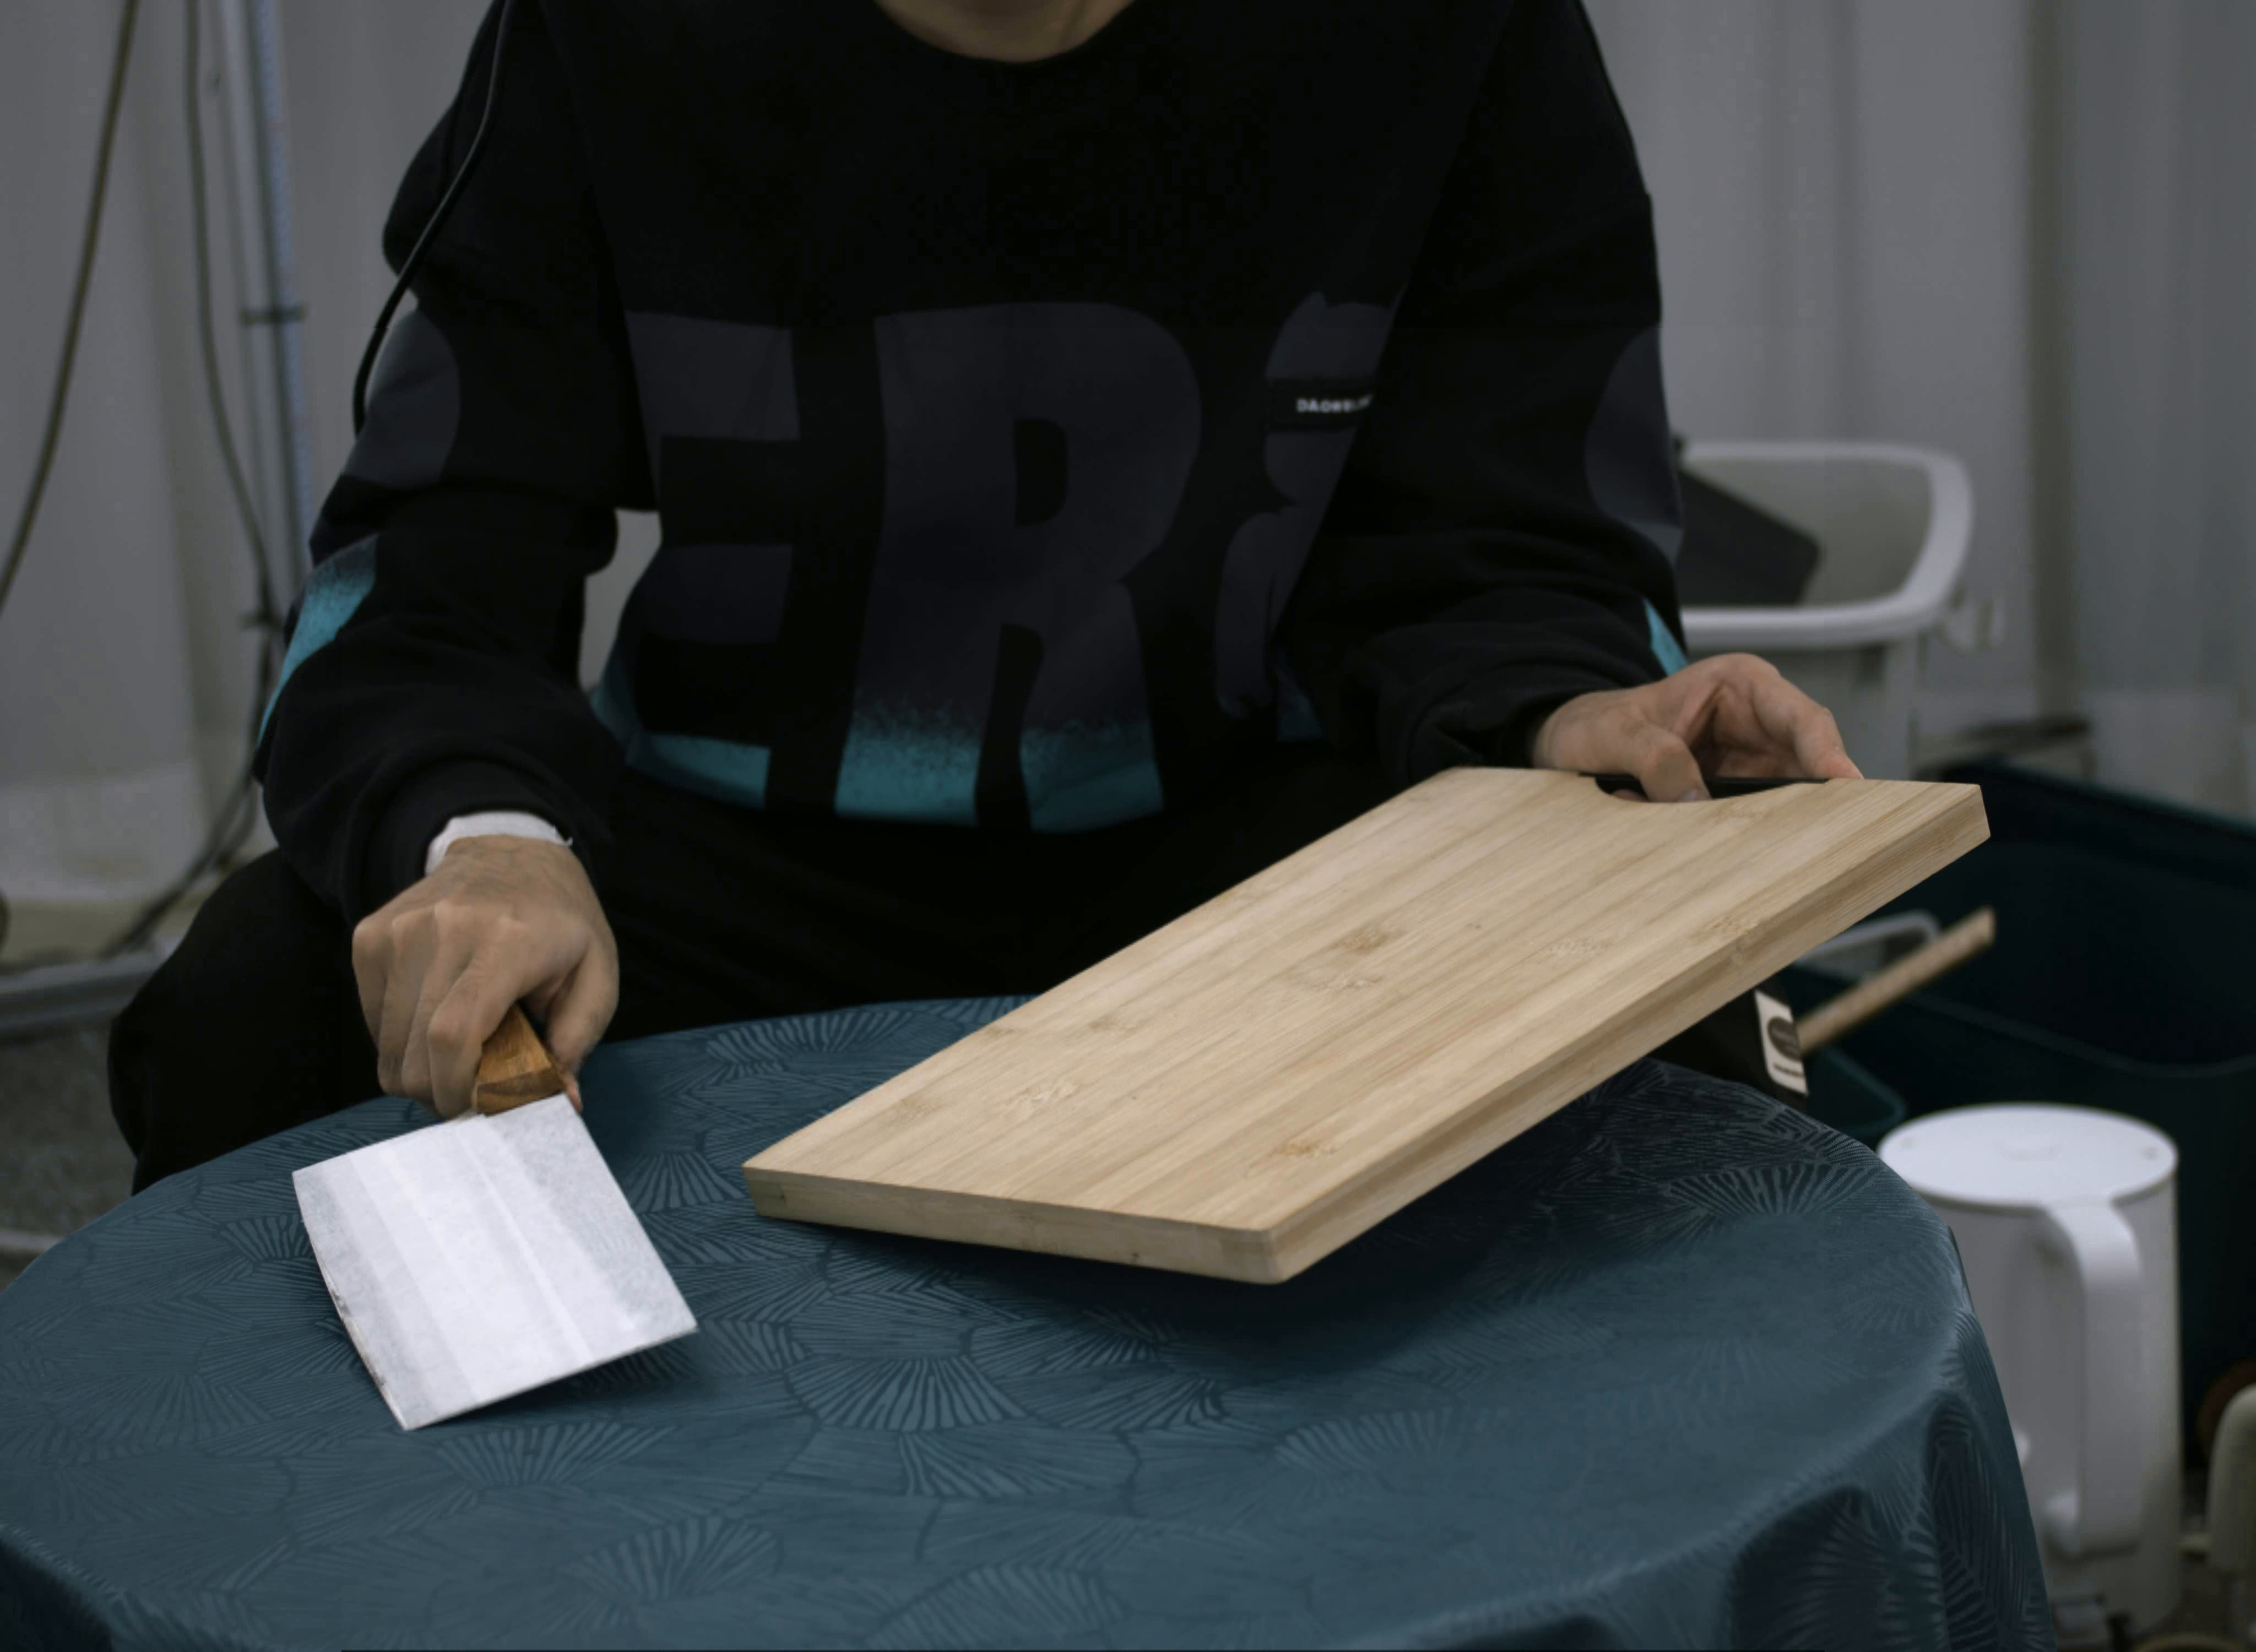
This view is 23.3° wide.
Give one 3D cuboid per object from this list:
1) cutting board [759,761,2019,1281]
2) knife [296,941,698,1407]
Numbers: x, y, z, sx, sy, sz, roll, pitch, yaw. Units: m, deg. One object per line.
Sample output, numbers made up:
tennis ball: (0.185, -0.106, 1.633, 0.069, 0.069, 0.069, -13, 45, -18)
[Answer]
cutting board: (0.082, 0.053, 1.729, 0.251, 0.023, 0.349, 2, 23, 47)
knife: (-0.208, 0.107, 1.691, 0.092, 0.021, 0.309, -19, 24, -11)
